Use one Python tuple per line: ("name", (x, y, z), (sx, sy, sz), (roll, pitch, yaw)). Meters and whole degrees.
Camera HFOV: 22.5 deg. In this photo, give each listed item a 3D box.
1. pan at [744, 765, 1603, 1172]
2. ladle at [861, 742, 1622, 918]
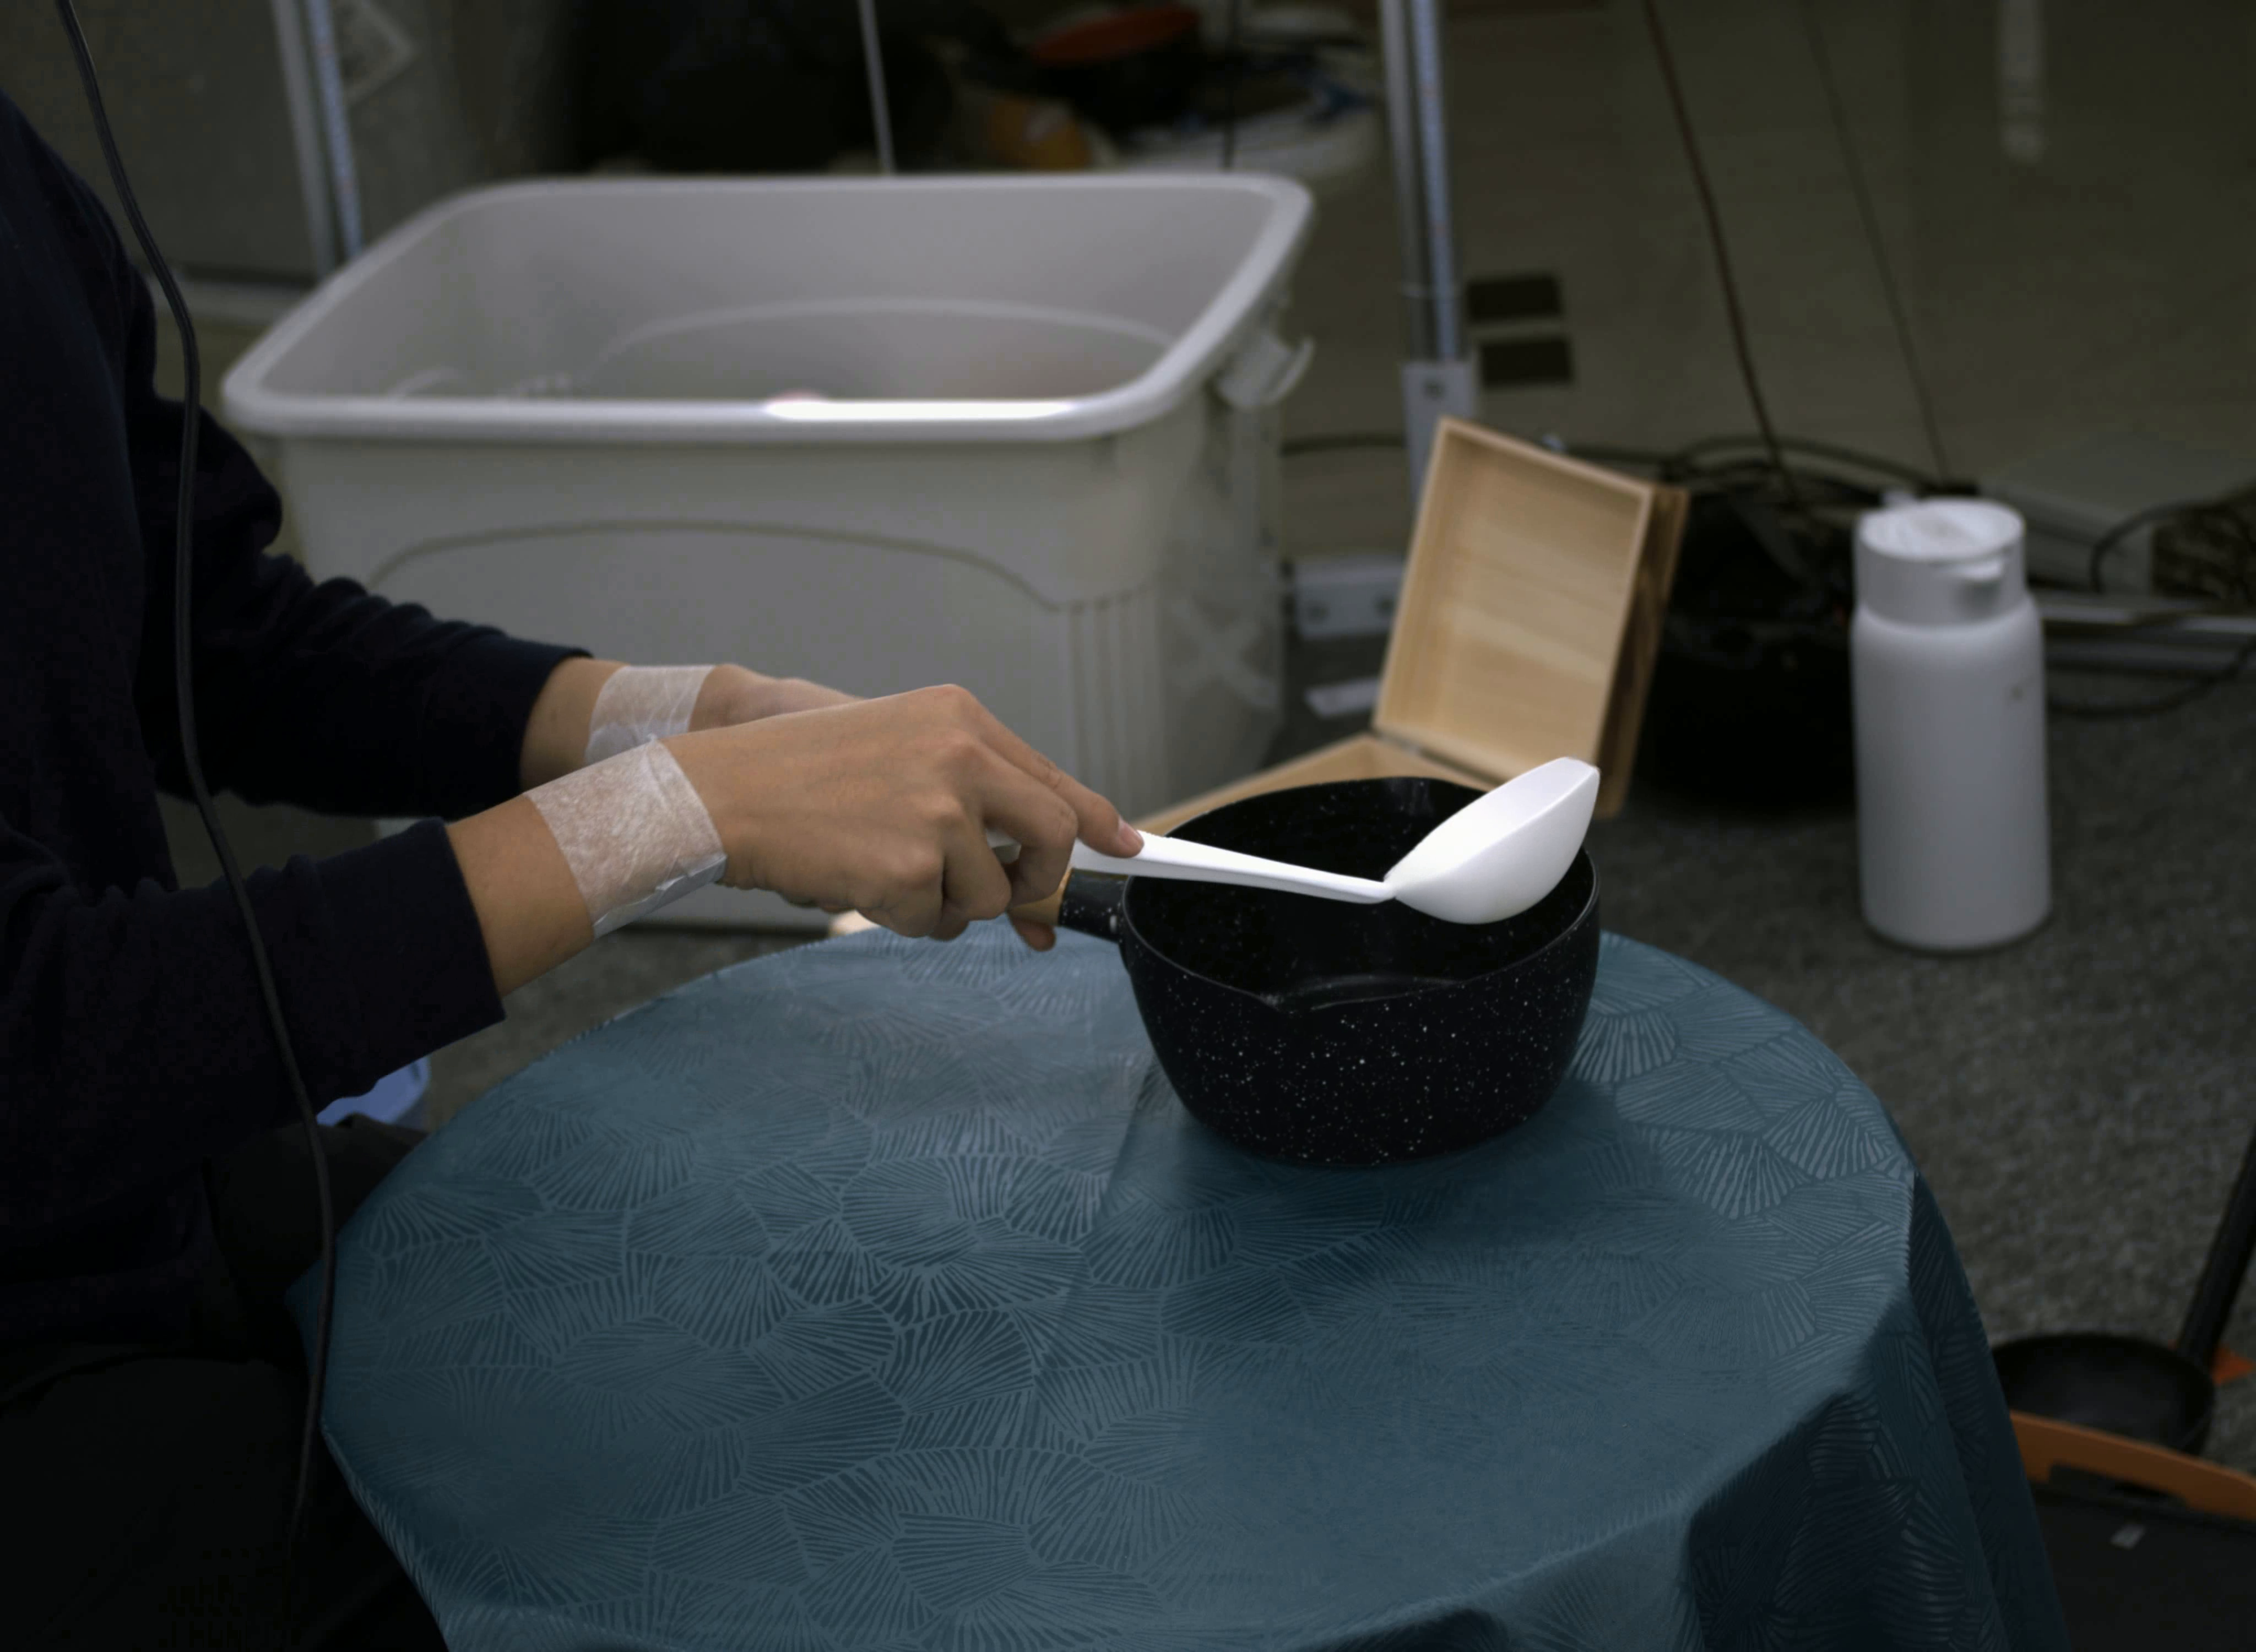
("pan", (0.014, 0.045, 2.202), (0.342, 0.110, 0.204), (5, 29, 14))
("ladle", (0.042, -0.004, 2.016), (0.293, 0.070, 0.090), (3, -1, -28))
